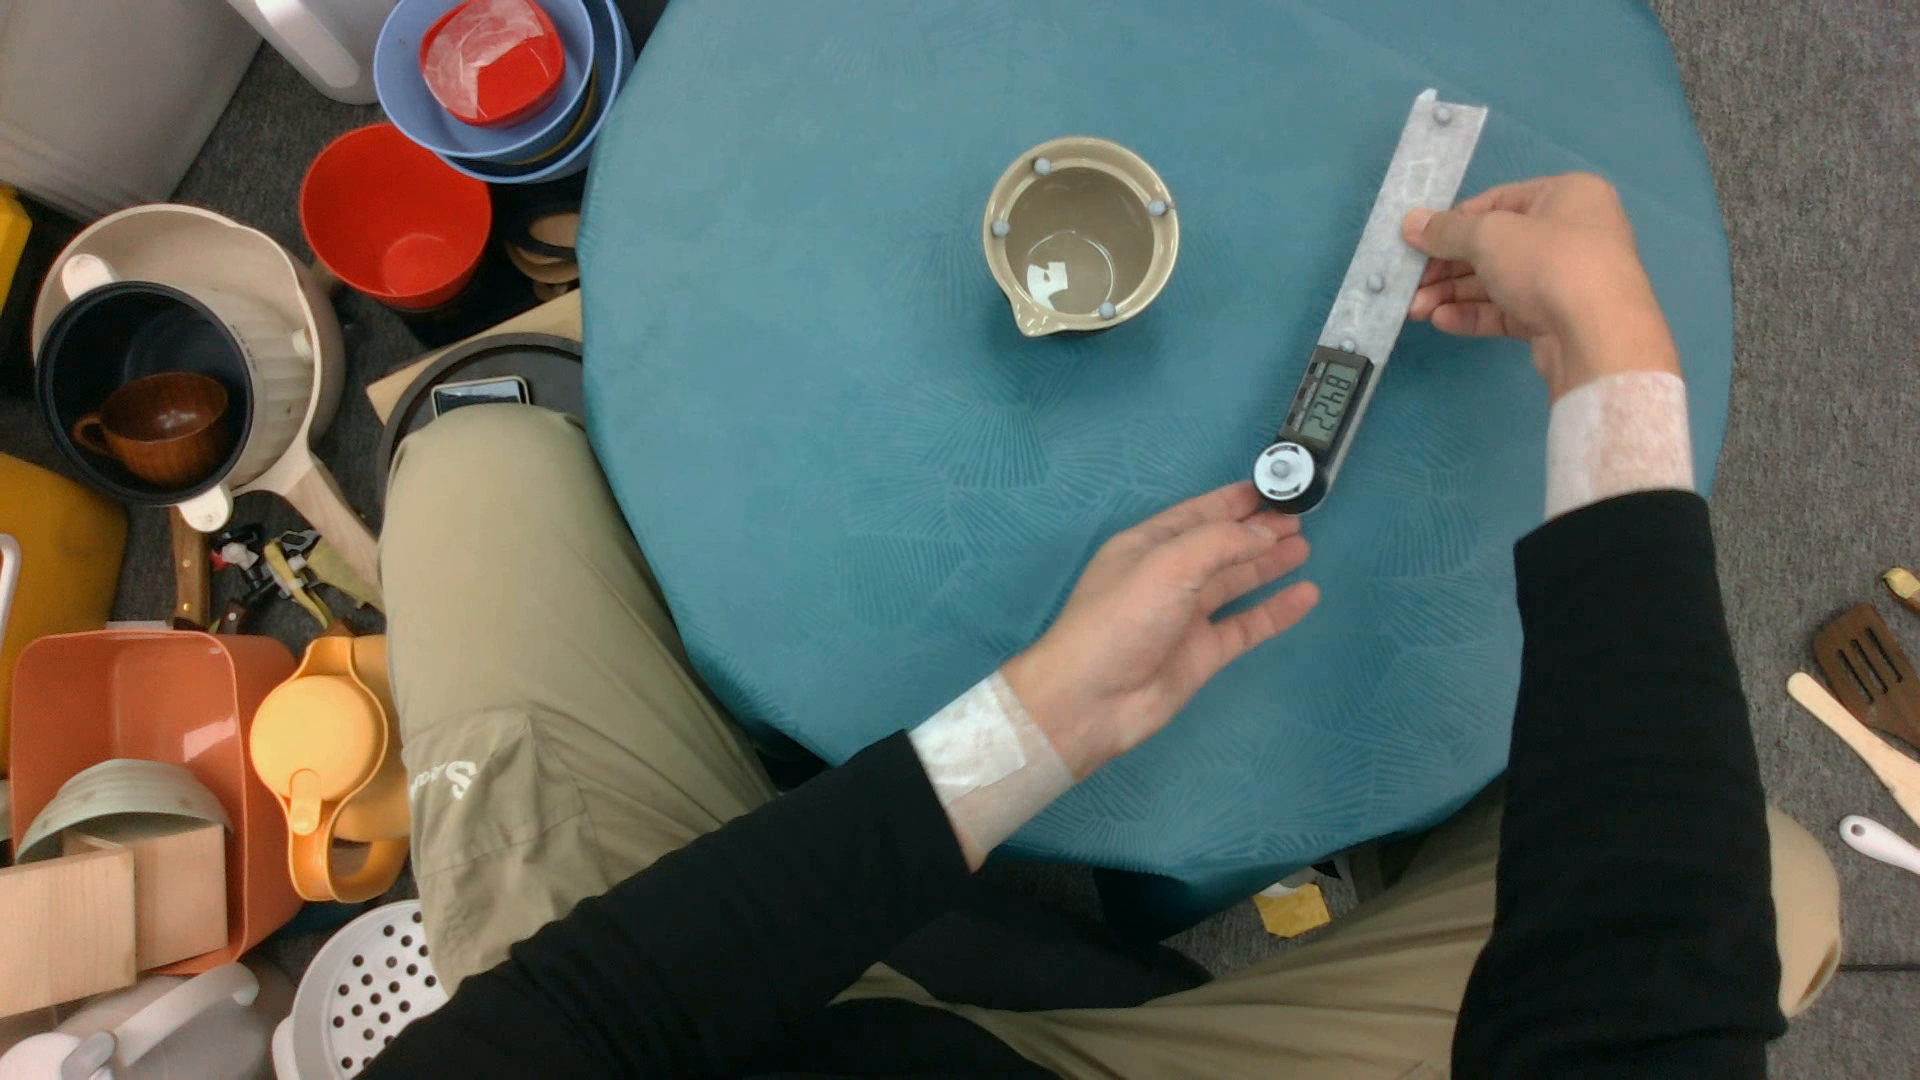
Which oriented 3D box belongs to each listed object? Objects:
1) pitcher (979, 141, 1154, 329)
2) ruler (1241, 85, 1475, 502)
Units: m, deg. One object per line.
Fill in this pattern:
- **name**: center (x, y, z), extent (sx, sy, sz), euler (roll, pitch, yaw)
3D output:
- **pitcher**: center (0.047, -0.140, 0.678), extent (0.083, 0.071, 0.096), euler (28, 82, 1)
- **ruler**: center (0.191, -0.122, 0.669), extent (0.038, 0.024, 0.218), euler (23, 90, 24)
